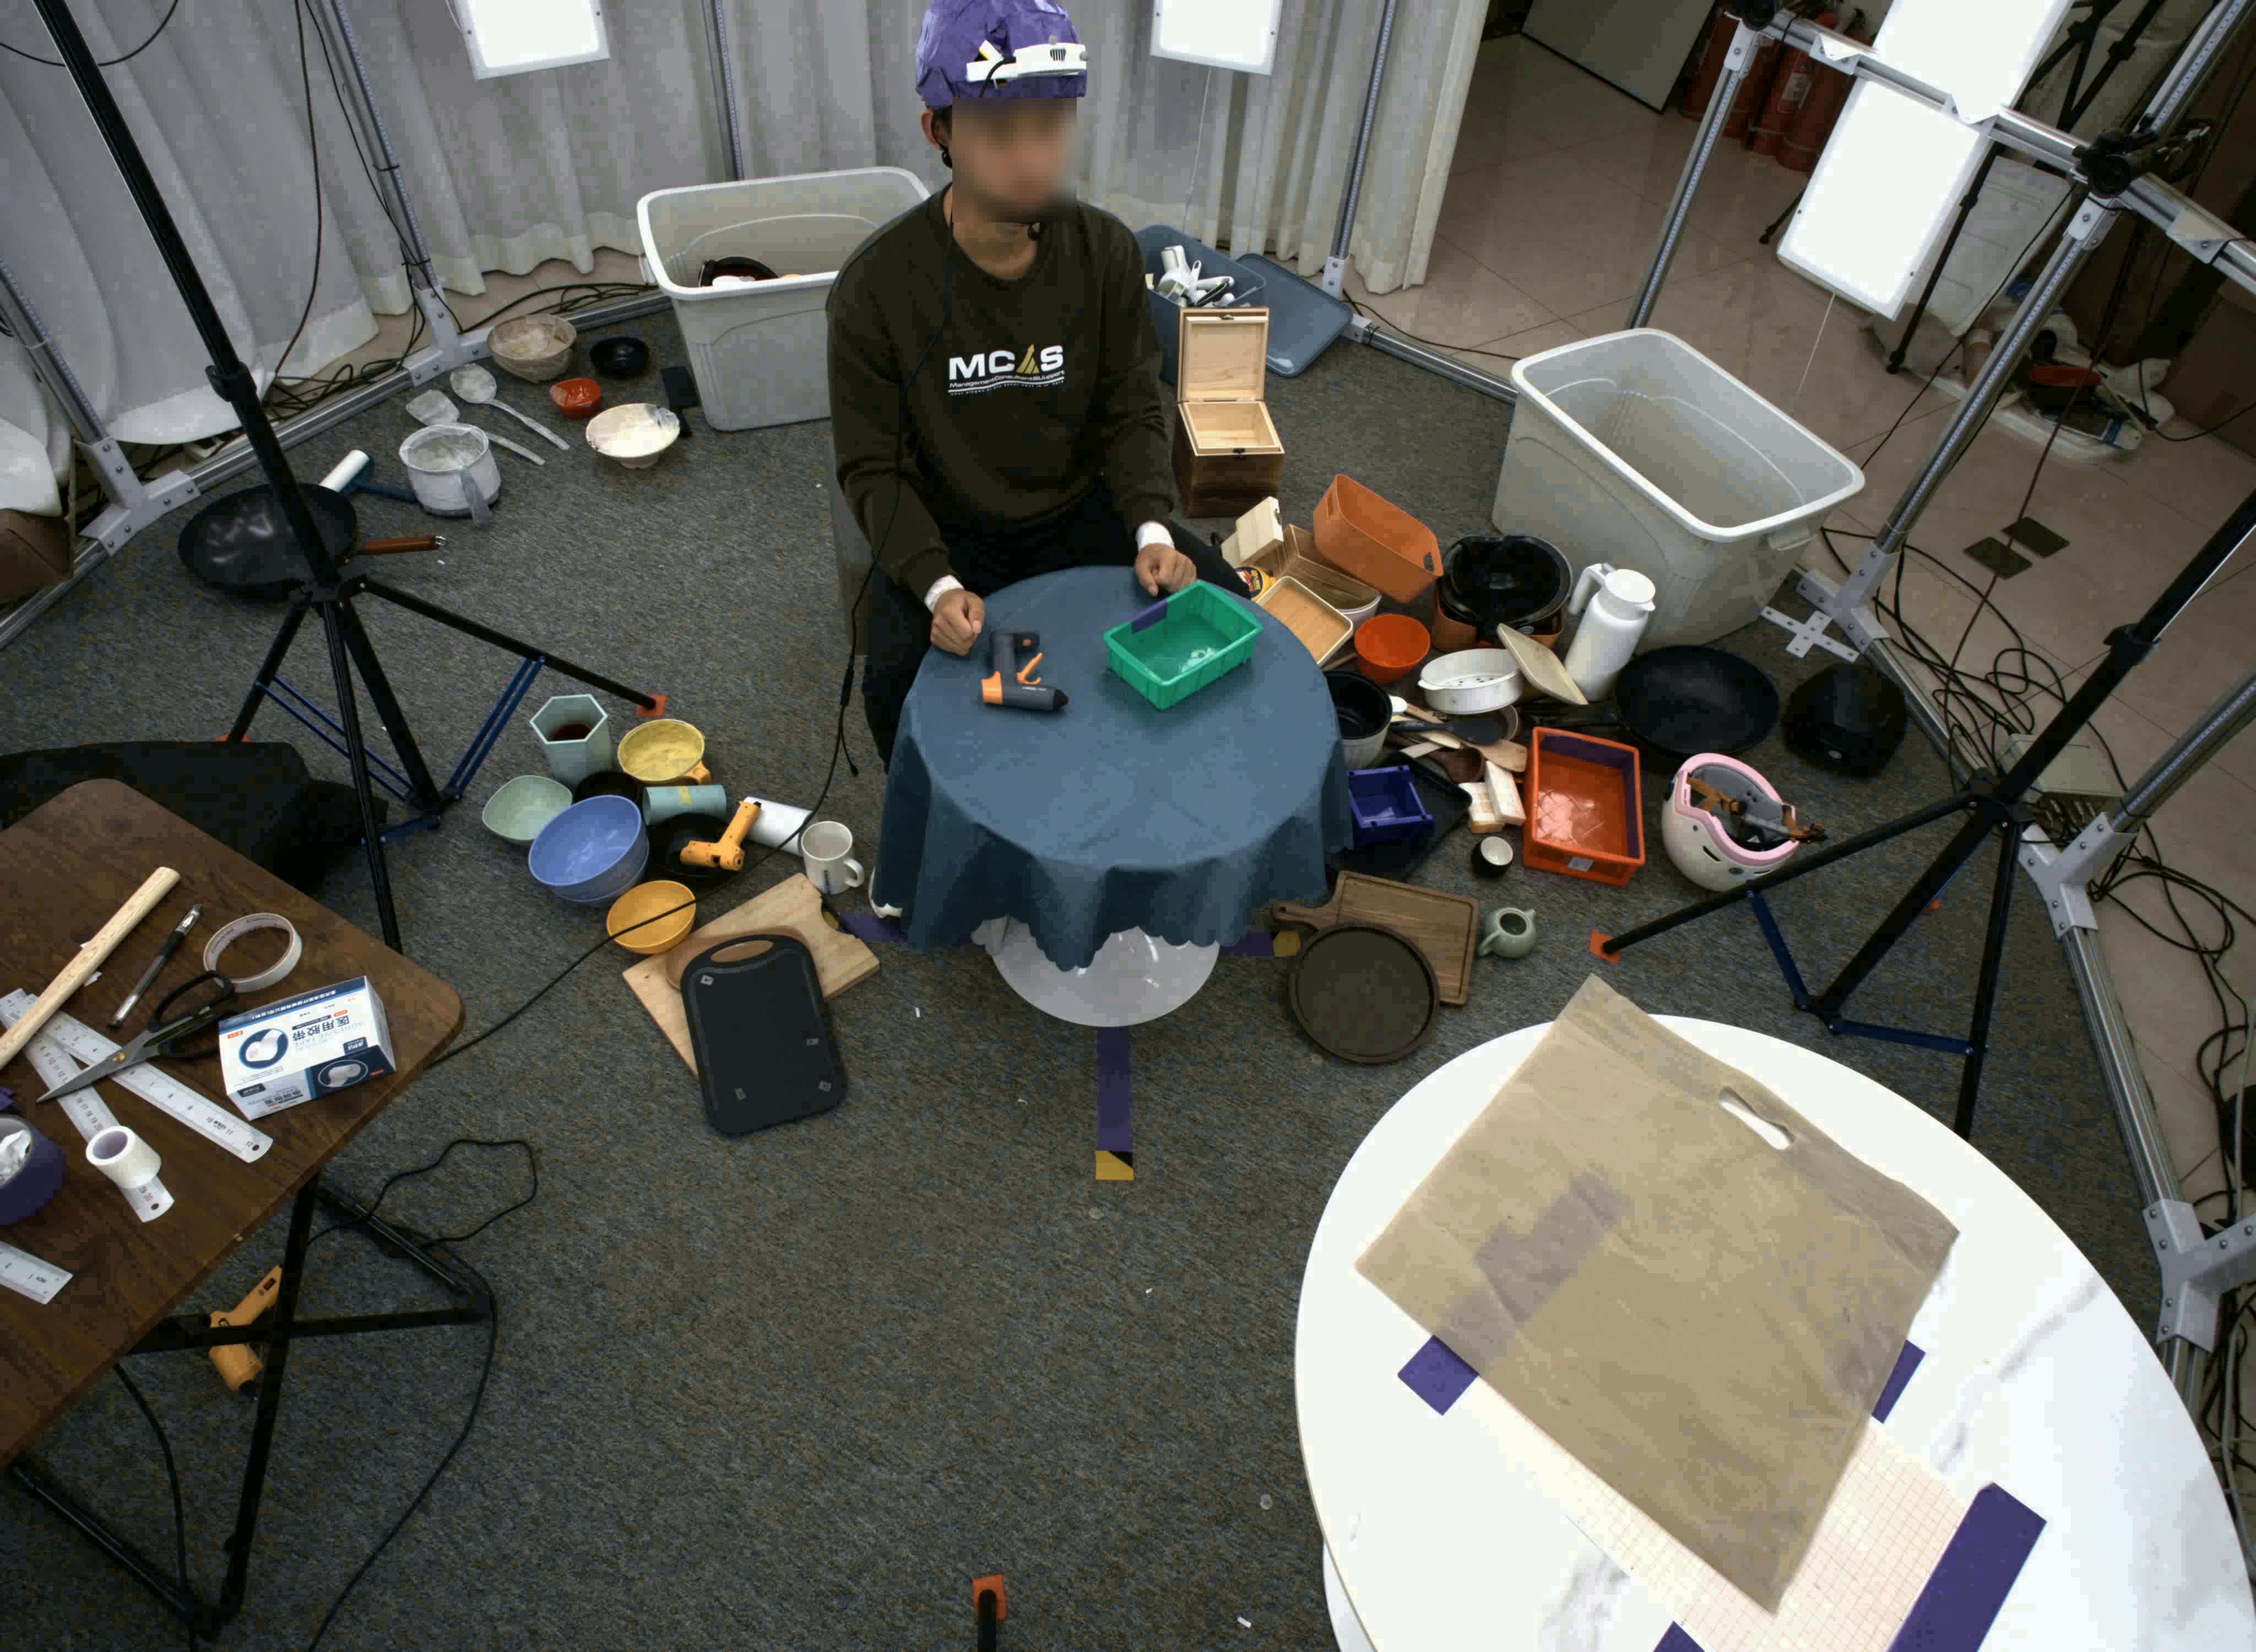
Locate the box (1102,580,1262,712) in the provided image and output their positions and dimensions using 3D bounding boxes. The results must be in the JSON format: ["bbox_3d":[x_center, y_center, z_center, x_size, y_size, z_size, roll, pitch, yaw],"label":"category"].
[{"bbox_3d":[0.077,-0.258,1.850,0.212,0.064,0.141,-35,58,-27],"label":"box"}]

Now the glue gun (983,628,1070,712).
[{"bbox_3d":[-0.148,-0.216,1.817,0.118,0.040,0.143,-4,52,-10],"label":"glue gun"}]
